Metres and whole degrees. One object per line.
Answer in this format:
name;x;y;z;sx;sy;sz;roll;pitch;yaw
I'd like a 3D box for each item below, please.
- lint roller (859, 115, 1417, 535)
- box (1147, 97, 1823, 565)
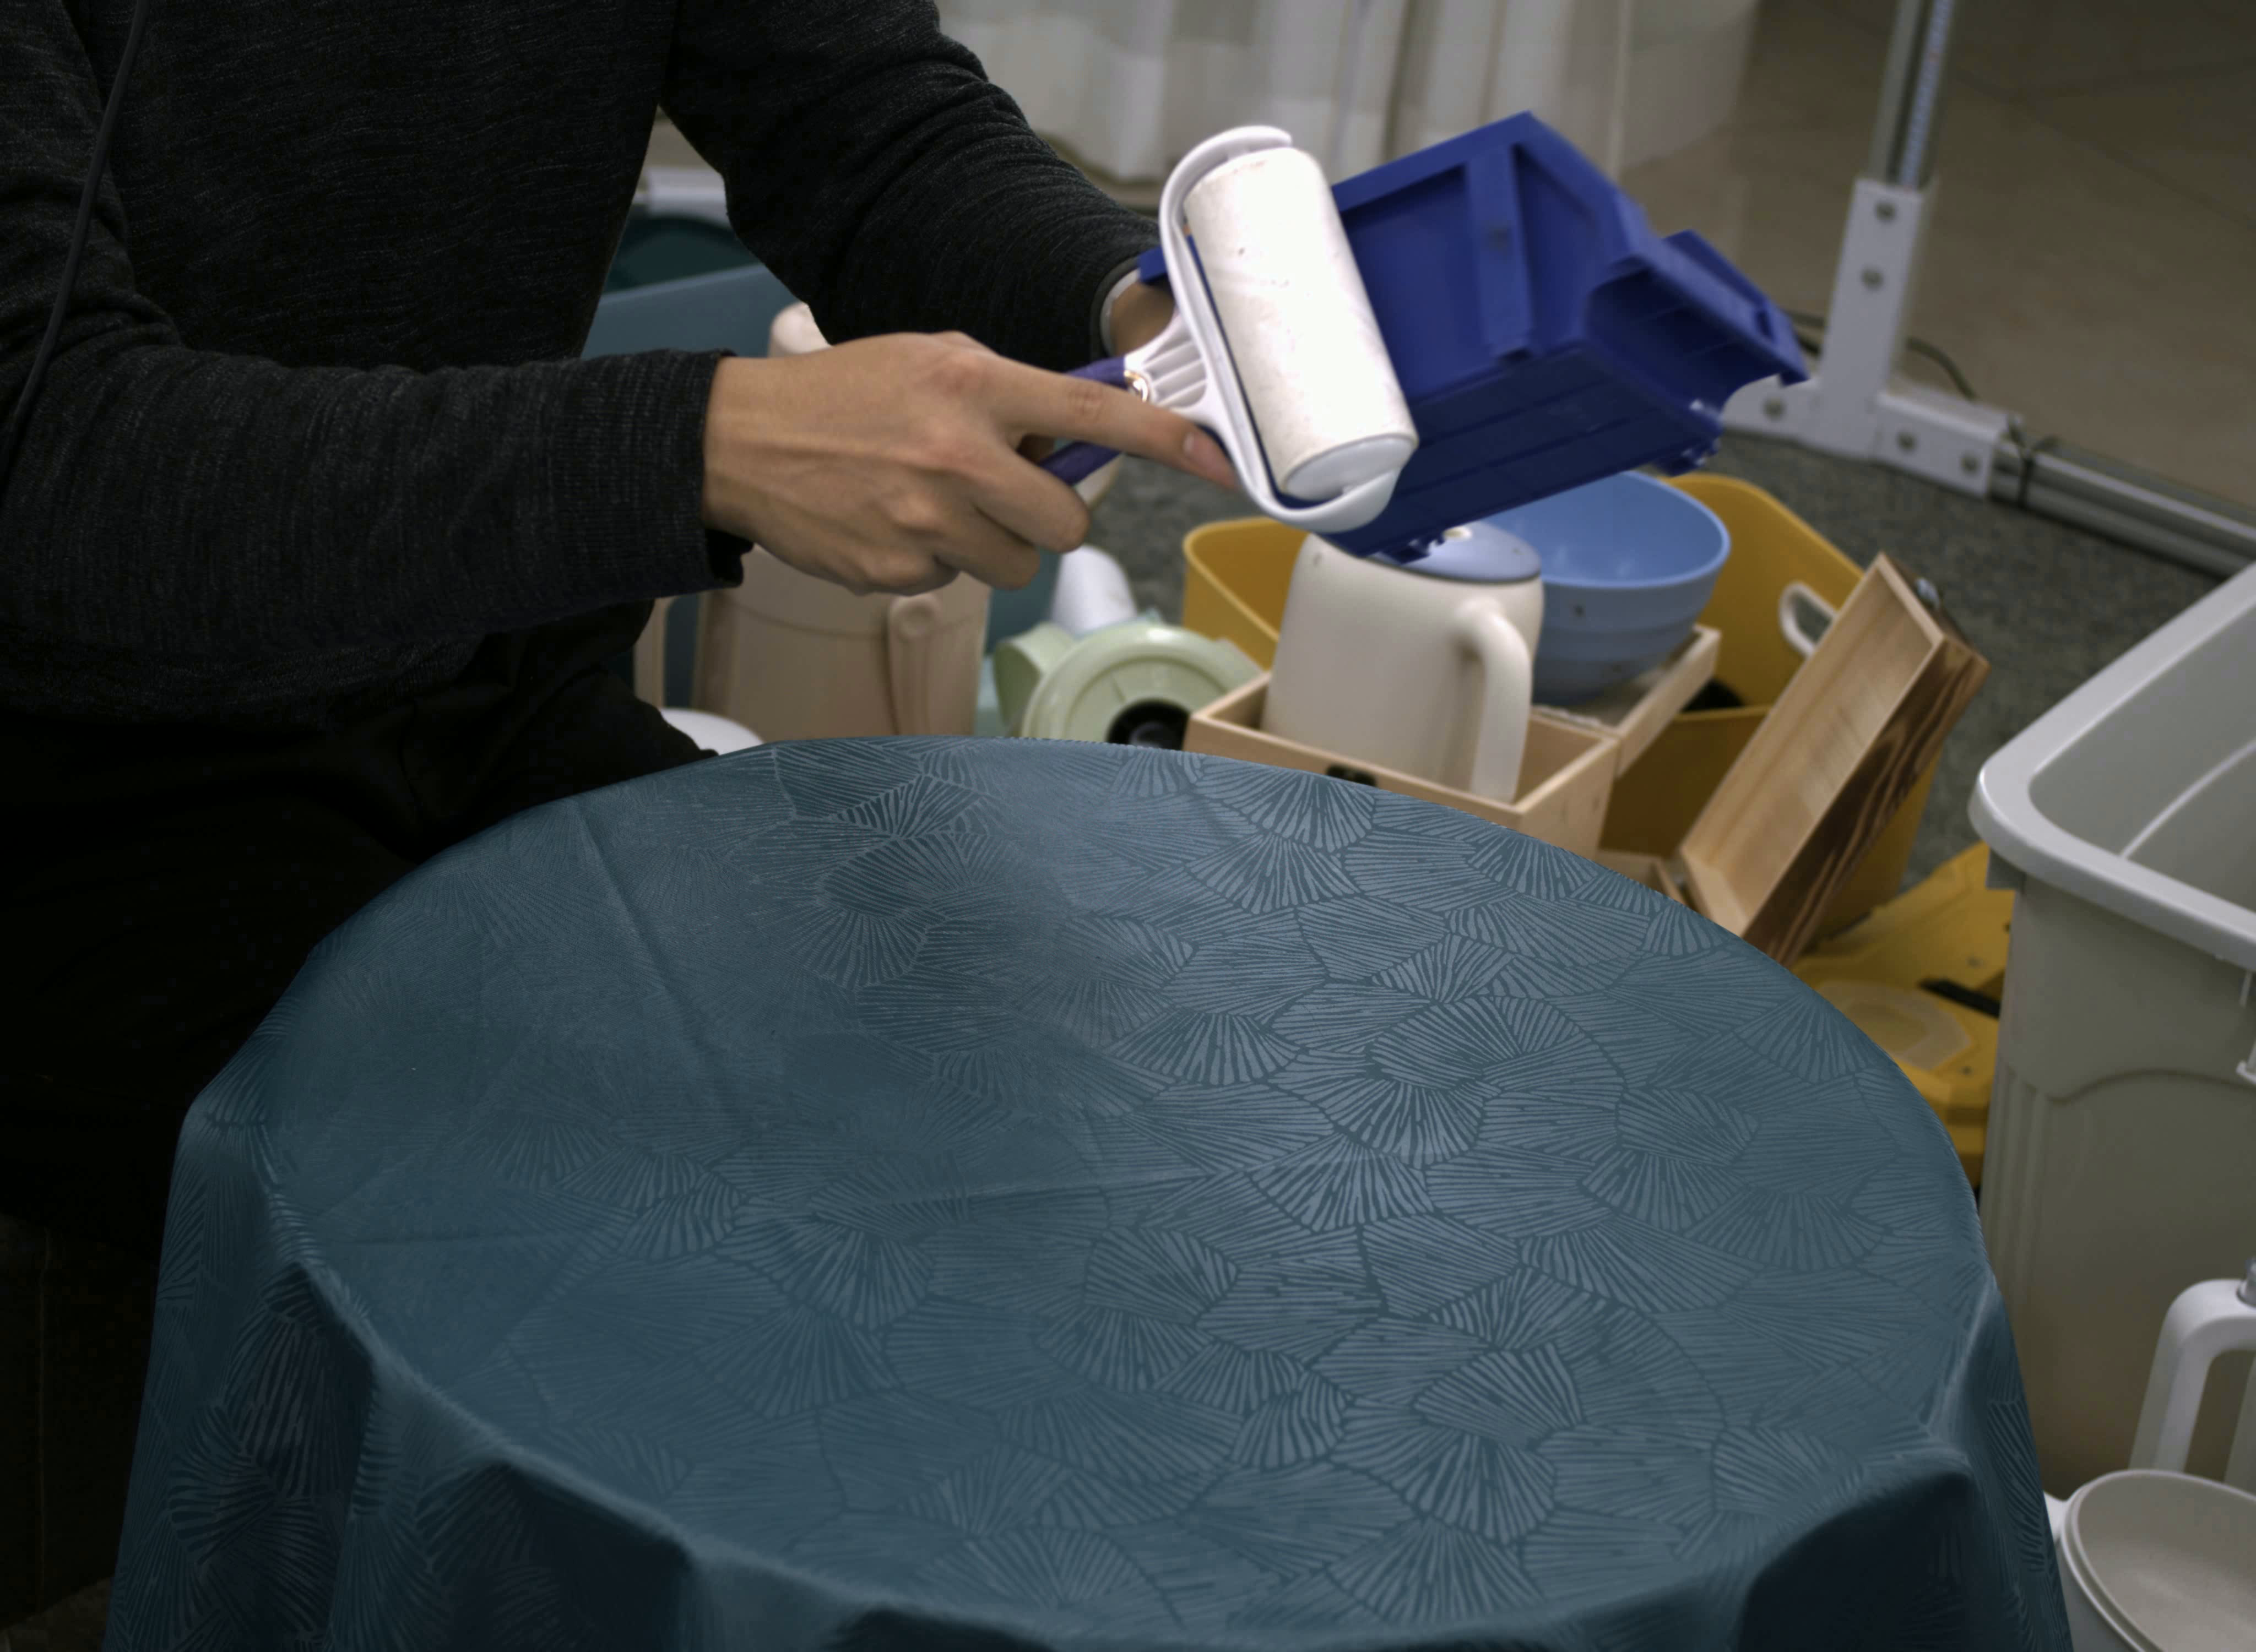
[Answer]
lint roller;-0.008;-0.139;1.684;0.180;0.134;0.050;-19;-14;9
box;0.117;-0.159;1.728;0.179;0.082;0.123;-21;-27;31
